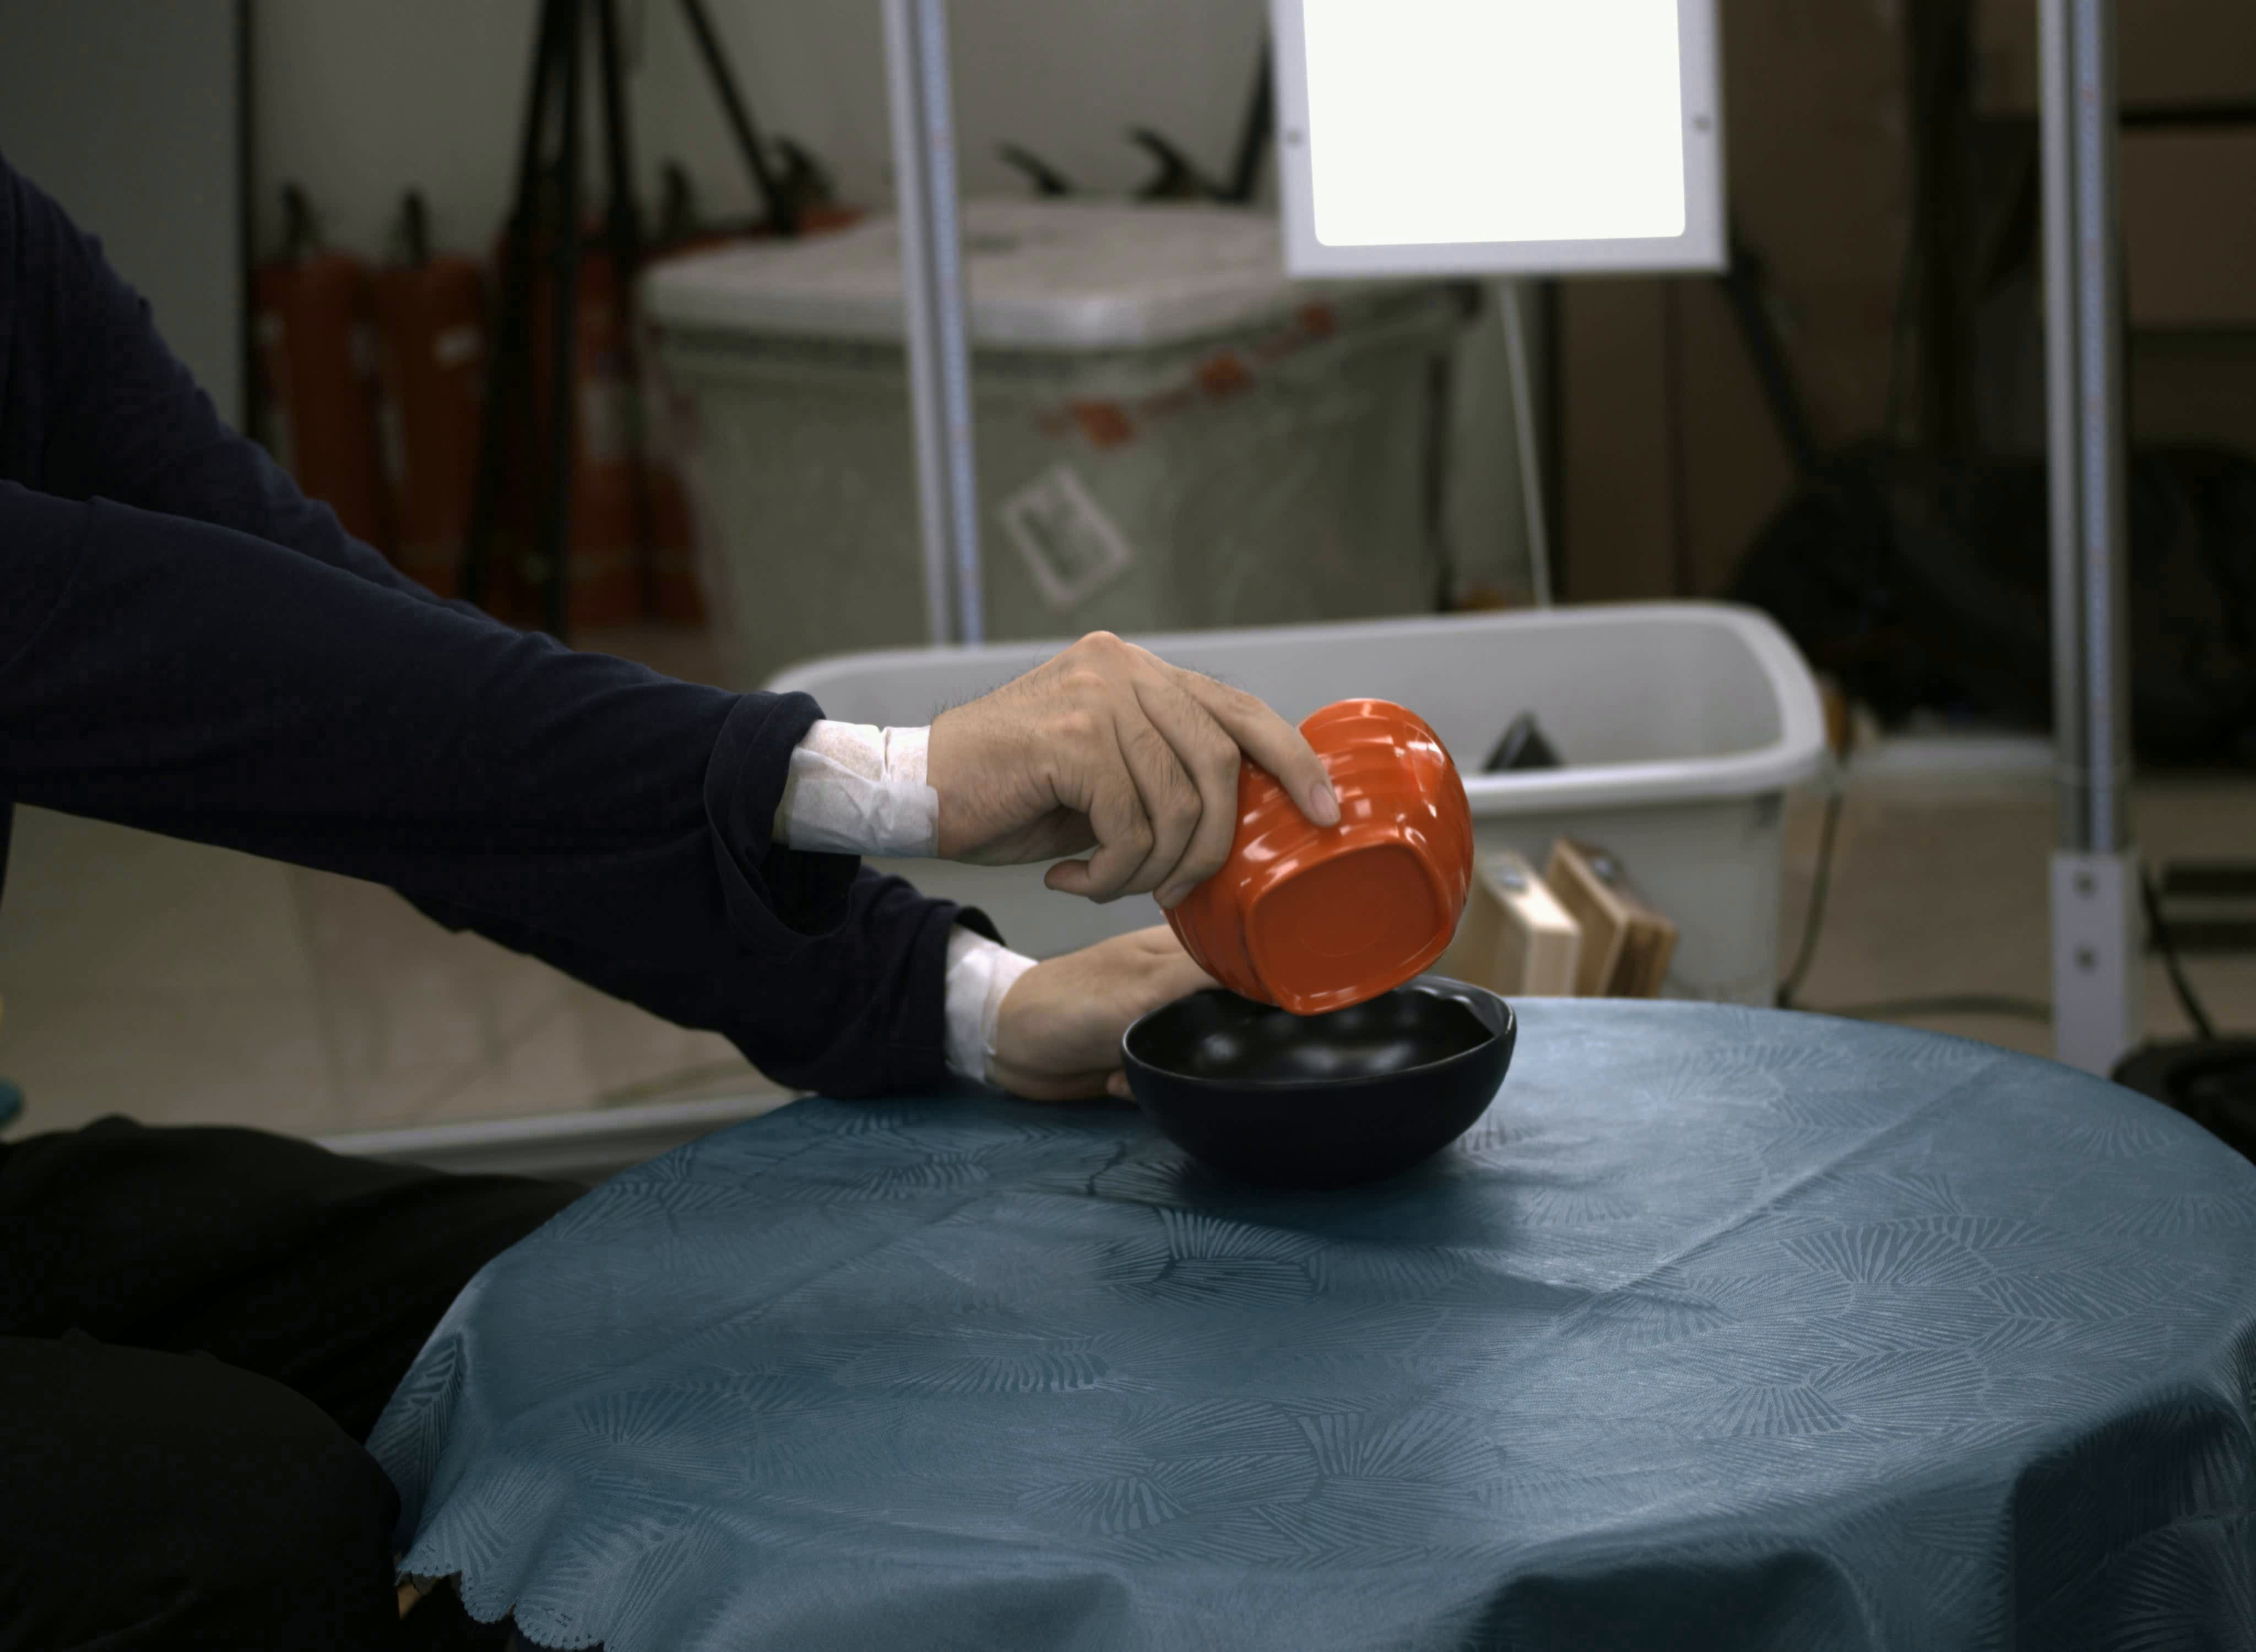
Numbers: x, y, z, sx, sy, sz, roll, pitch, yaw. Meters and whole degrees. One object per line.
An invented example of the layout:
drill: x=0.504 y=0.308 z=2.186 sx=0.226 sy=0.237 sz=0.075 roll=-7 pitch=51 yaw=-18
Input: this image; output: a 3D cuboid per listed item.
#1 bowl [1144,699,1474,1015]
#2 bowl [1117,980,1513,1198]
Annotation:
bowl: x=0.066 y=0.019 z=1.817 sx=0.117 sy=0.120 sz=0.051 roll=-7 pitch=43 yaw=-10
bowl: x=0.068 y=0.095 z=1.914 sx=0.140 sy=0.050 sz=0.140 roll=-9 pitch=12 yaw=0
